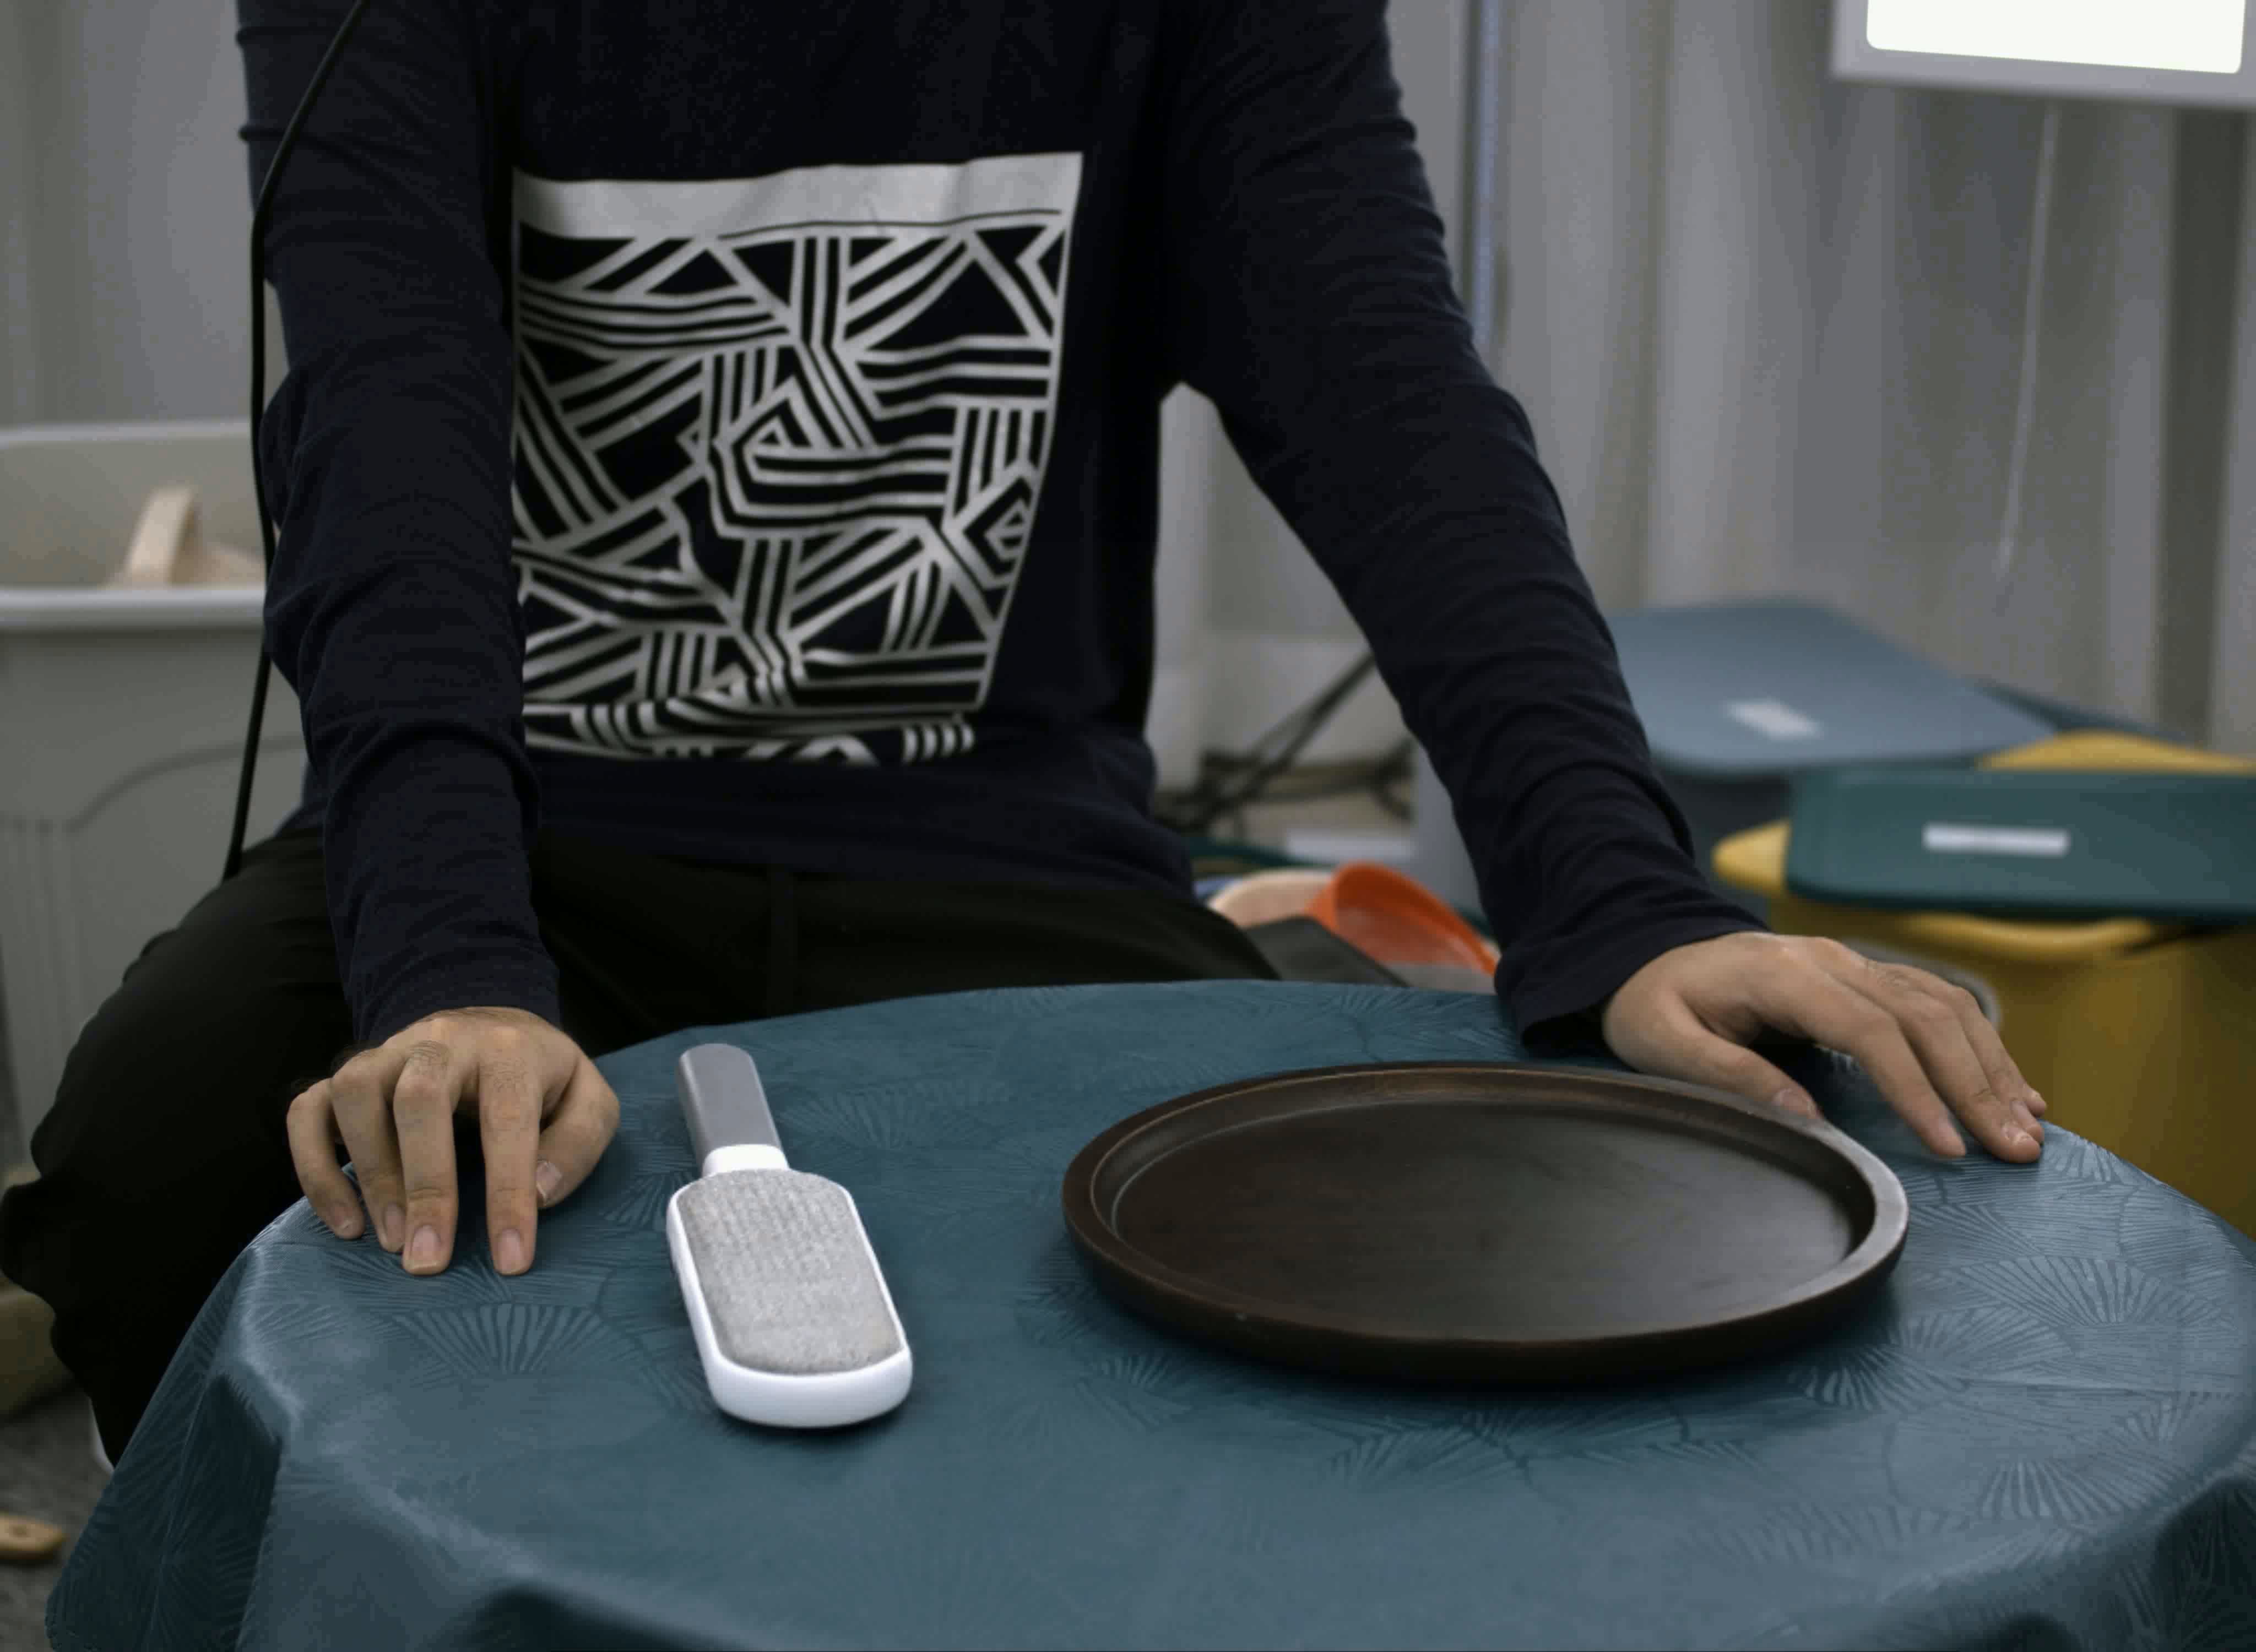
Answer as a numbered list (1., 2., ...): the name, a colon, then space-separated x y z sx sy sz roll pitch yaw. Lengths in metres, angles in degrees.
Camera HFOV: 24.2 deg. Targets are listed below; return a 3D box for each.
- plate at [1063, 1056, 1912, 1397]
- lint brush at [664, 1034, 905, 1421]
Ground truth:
1. plate: 0.106 0.116 1.568 0.254 0.029 0.253 2 15 0
2. lint brush: -0.108 0.114 1.563 0.060 0.021 0.306 -7 16 -8
